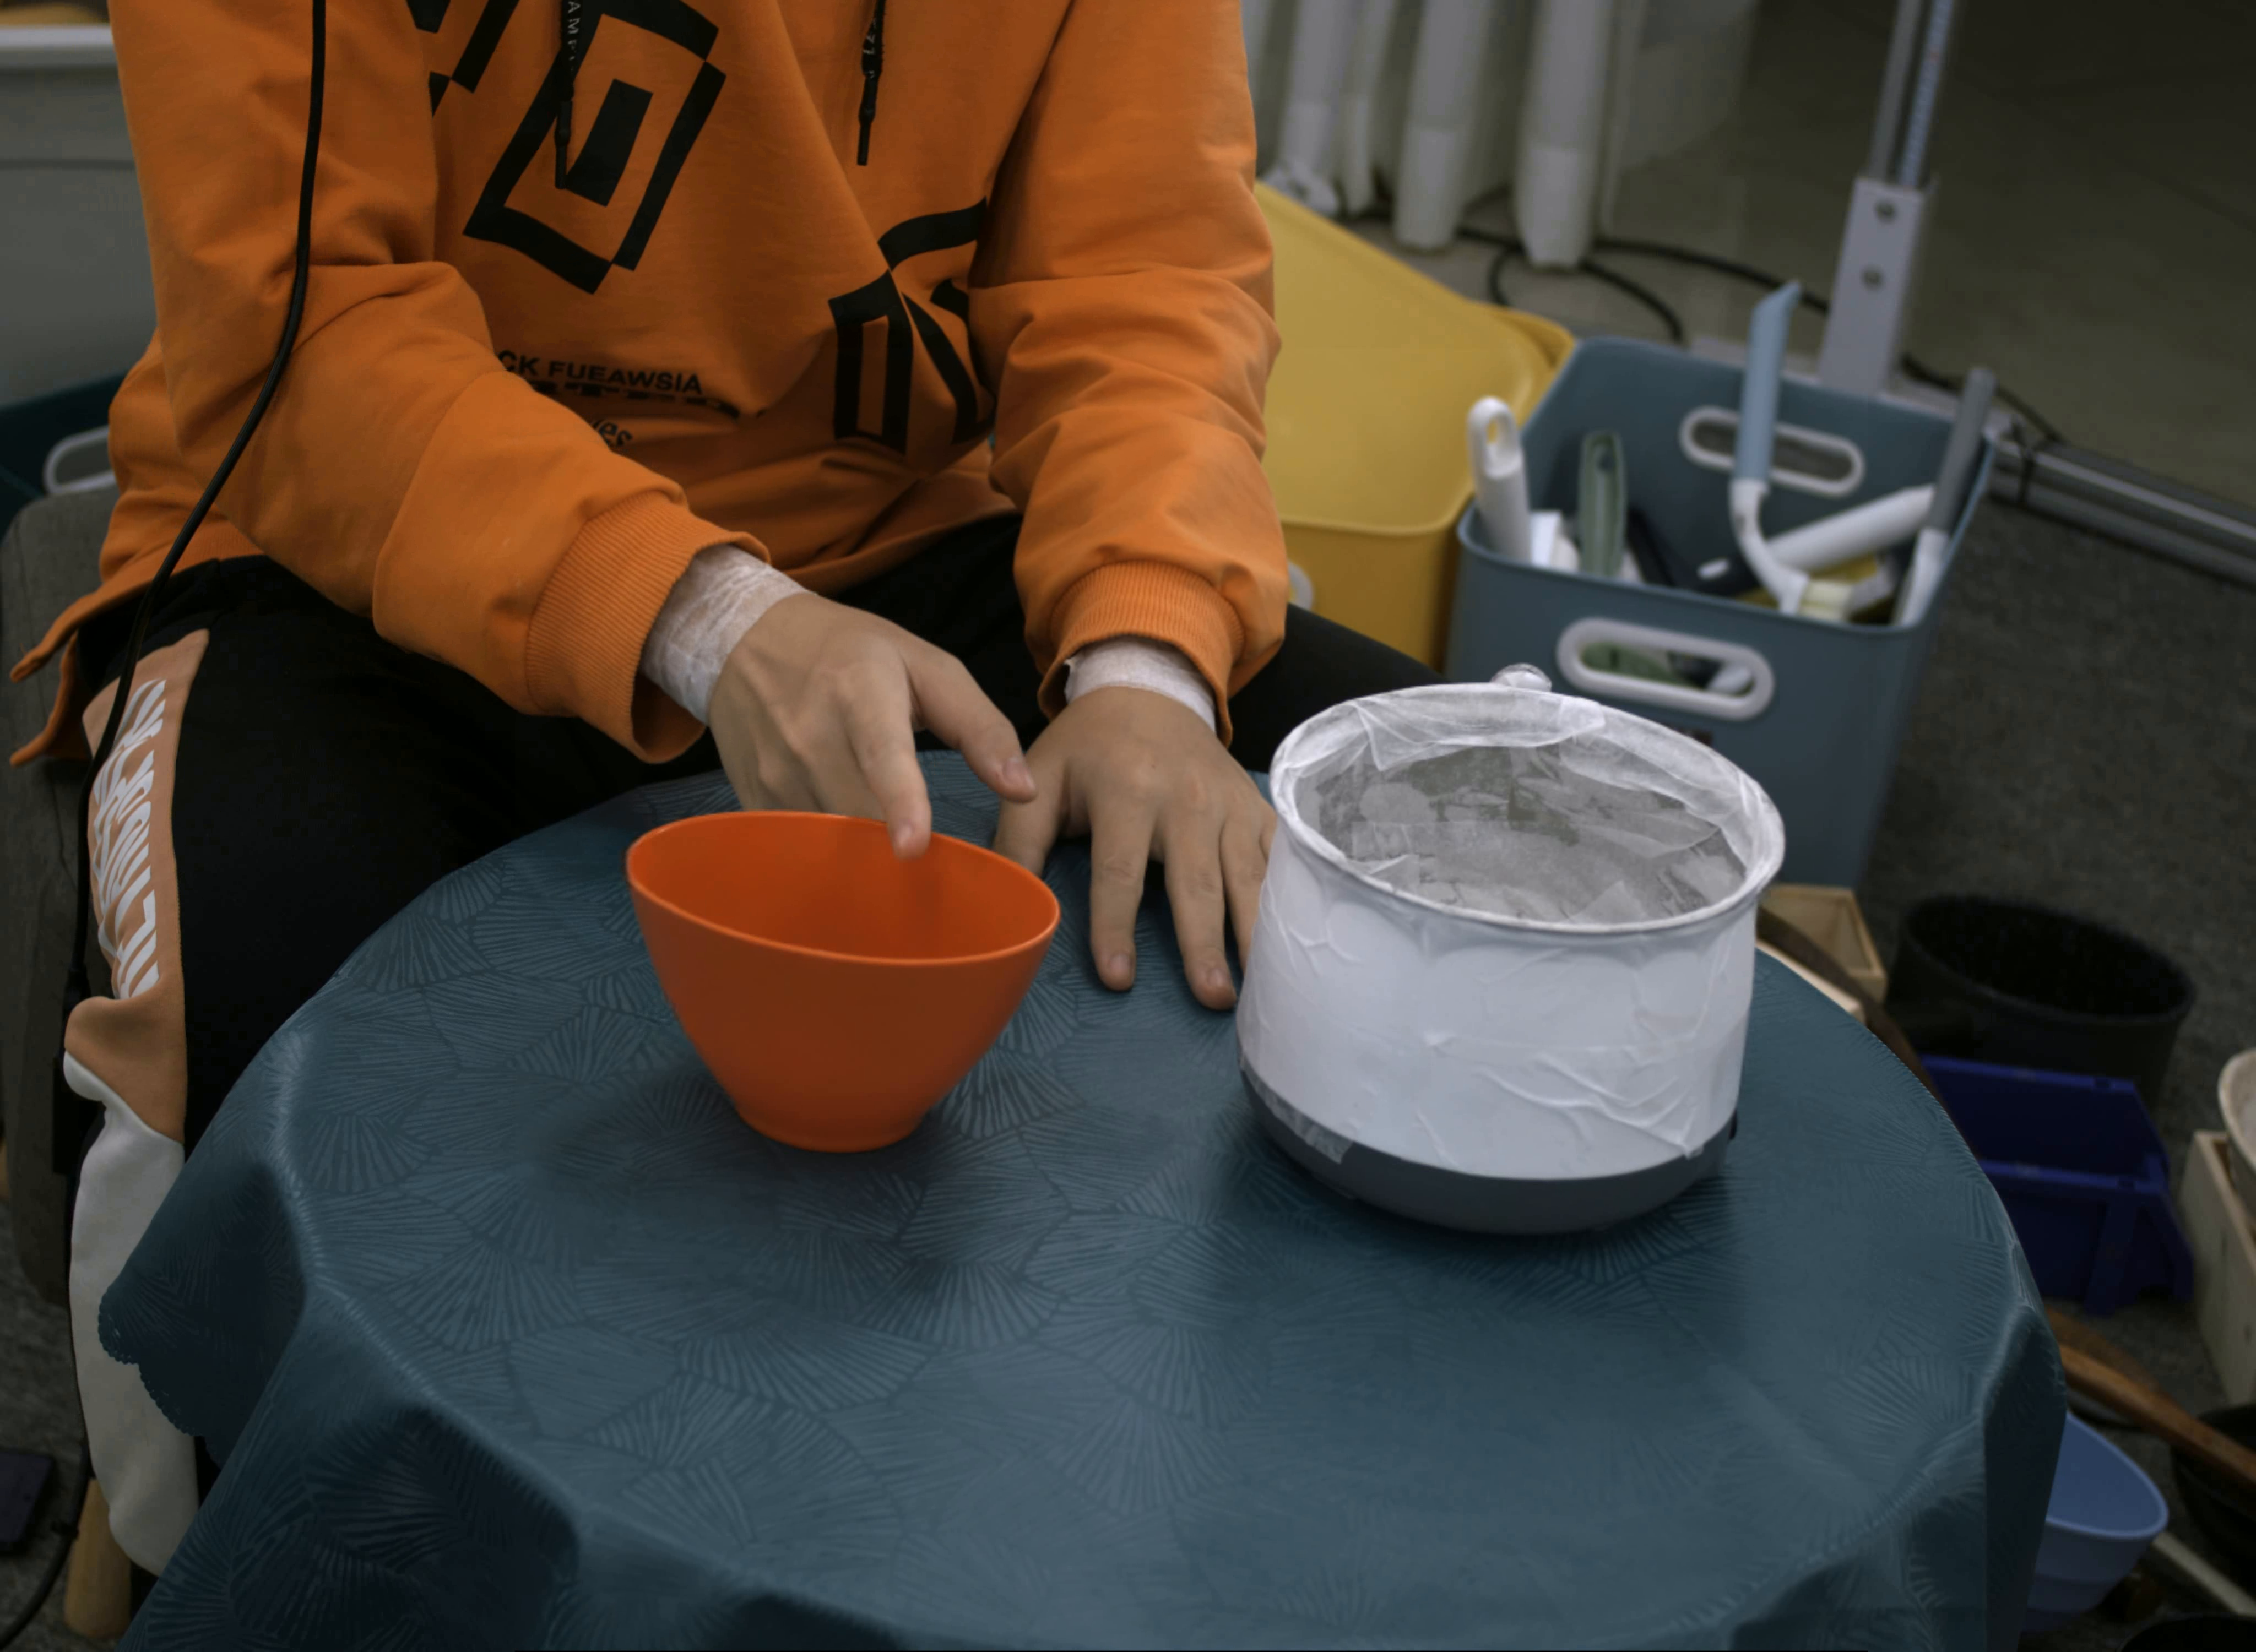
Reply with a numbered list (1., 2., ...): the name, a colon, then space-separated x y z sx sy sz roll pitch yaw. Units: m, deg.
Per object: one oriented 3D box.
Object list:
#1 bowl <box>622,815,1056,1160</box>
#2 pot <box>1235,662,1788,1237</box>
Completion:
1. bowl: -0.101 0.058 1.803 0.147 0.104 0.149 5 26 -3
2. pot: 0.129 0.035 1.854 0.178 0.136 0.235 7 27 -1
